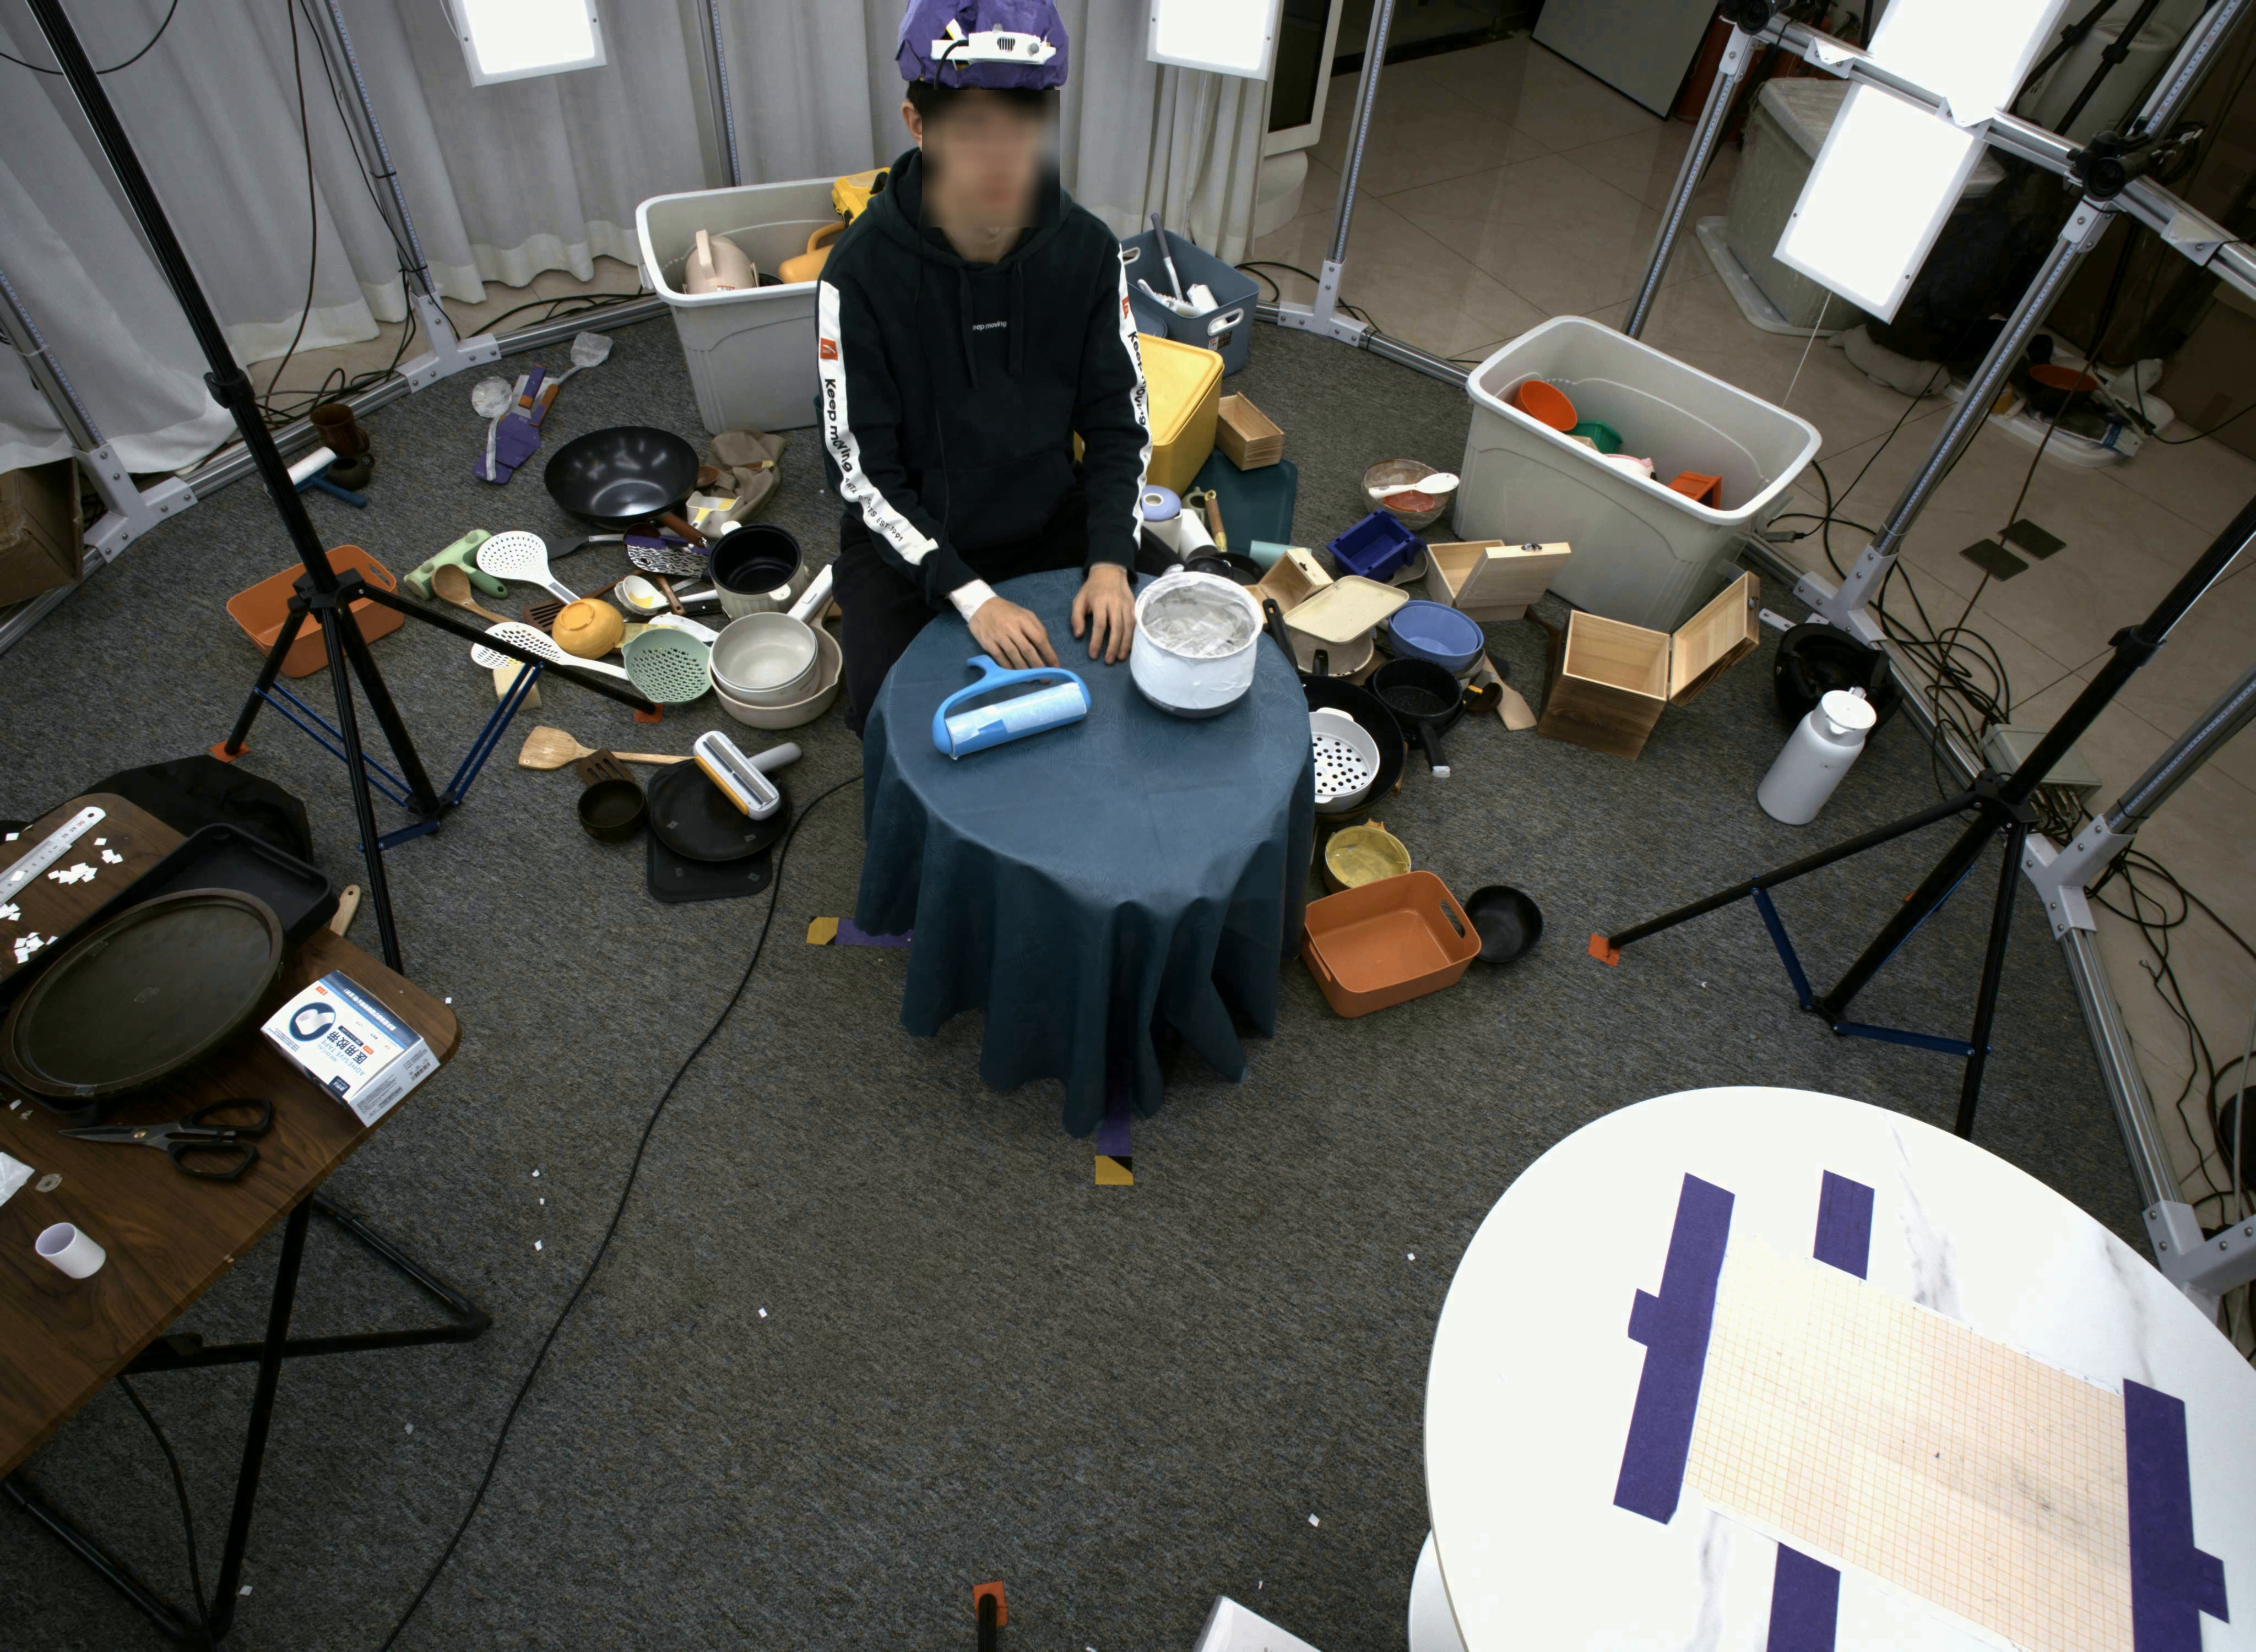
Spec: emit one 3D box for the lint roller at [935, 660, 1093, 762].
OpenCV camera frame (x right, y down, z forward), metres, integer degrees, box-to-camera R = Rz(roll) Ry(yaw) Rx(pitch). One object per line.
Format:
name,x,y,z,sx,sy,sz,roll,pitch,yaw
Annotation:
lint roller,-0.181,-0.185,1.781,0.229,0.066,0.184,-23,55,-19

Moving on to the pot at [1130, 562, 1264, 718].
pot,0.086,-0.272,1.818,0.178,0.133,0.239,-10,52,-13
